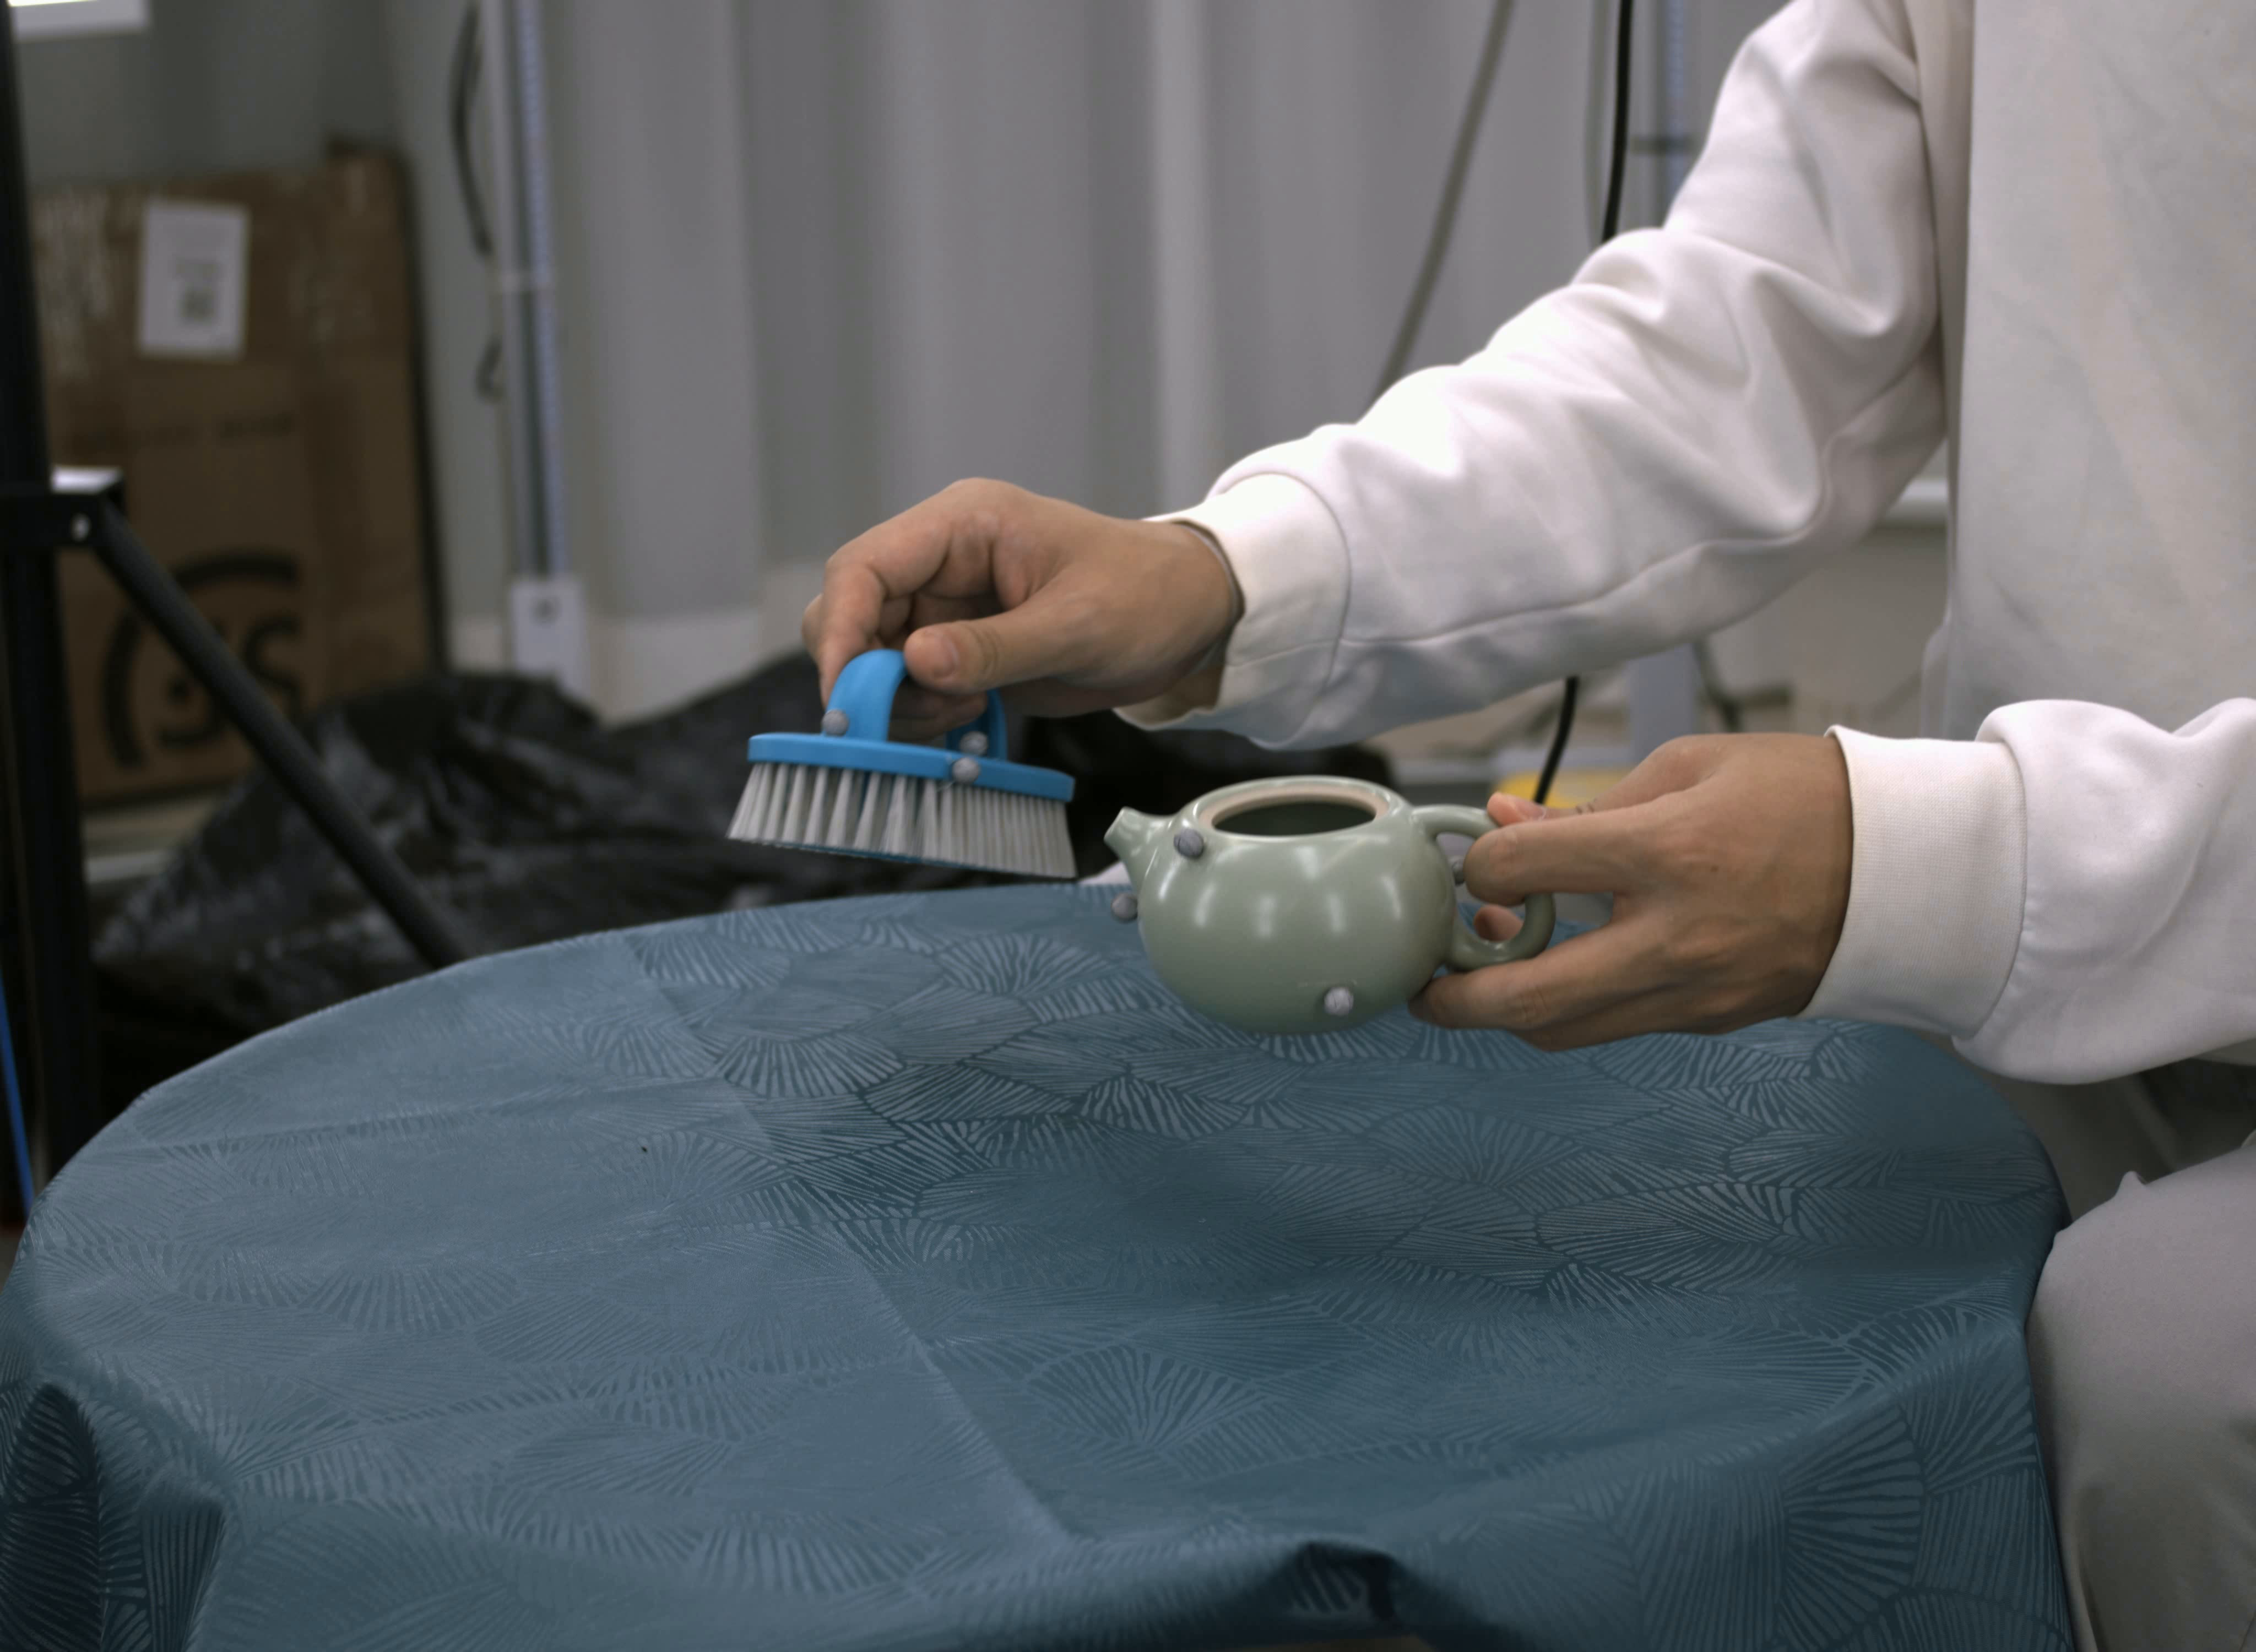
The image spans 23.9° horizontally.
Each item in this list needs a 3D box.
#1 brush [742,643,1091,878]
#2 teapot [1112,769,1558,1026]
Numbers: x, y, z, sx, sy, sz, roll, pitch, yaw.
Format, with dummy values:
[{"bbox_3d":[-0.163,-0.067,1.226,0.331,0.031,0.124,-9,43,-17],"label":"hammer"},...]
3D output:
[{"bbox_3d":[-0.065,-0.022,1.652,0.085,0.064,0.139,-2,-7,24],"label":"brush"},{"bbox_3d":[0.059,0.021,1.512,0.129,0.061,0.091,1,15,16],"label":"teapot"}]
